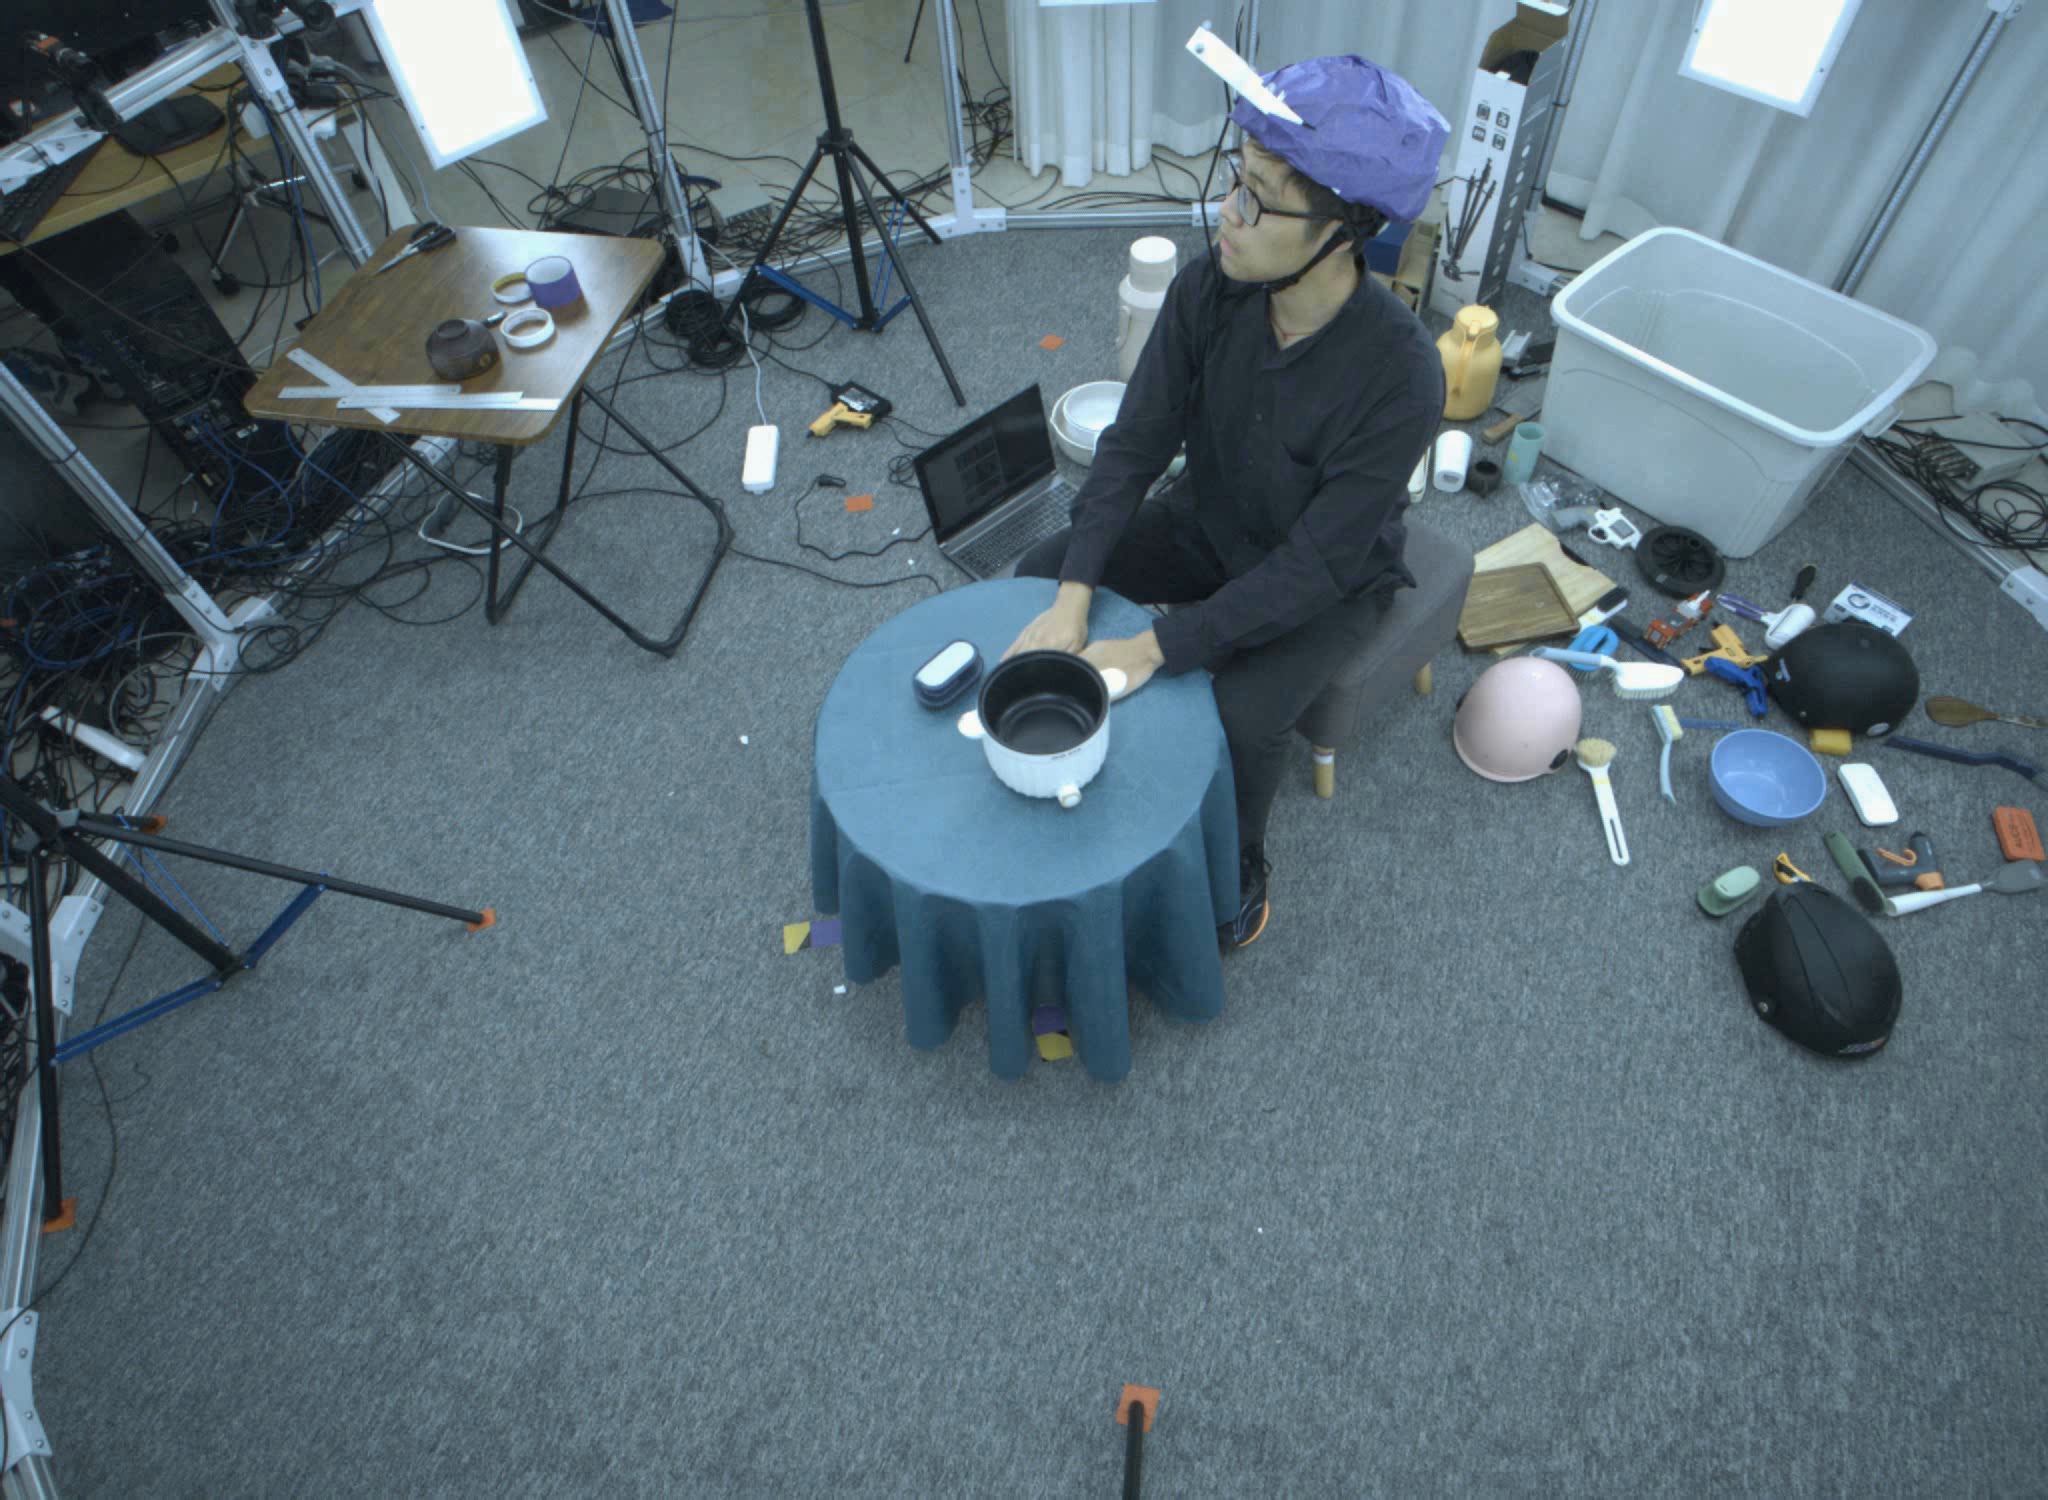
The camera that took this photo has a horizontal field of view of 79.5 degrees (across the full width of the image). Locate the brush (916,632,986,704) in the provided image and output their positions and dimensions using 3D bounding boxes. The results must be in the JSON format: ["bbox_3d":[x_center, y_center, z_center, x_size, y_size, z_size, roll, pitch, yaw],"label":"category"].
[{"bbox_3d":[-0.110,-0.122,1.848,0.122,0.062,0.066,-41,59,-19],"label":"brush"}]

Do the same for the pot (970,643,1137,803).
[{"bbox_3d":[0.048,-0.031,1.715,0.242,0.144,0.187,-19,53,-9],"label":"pot"}]
